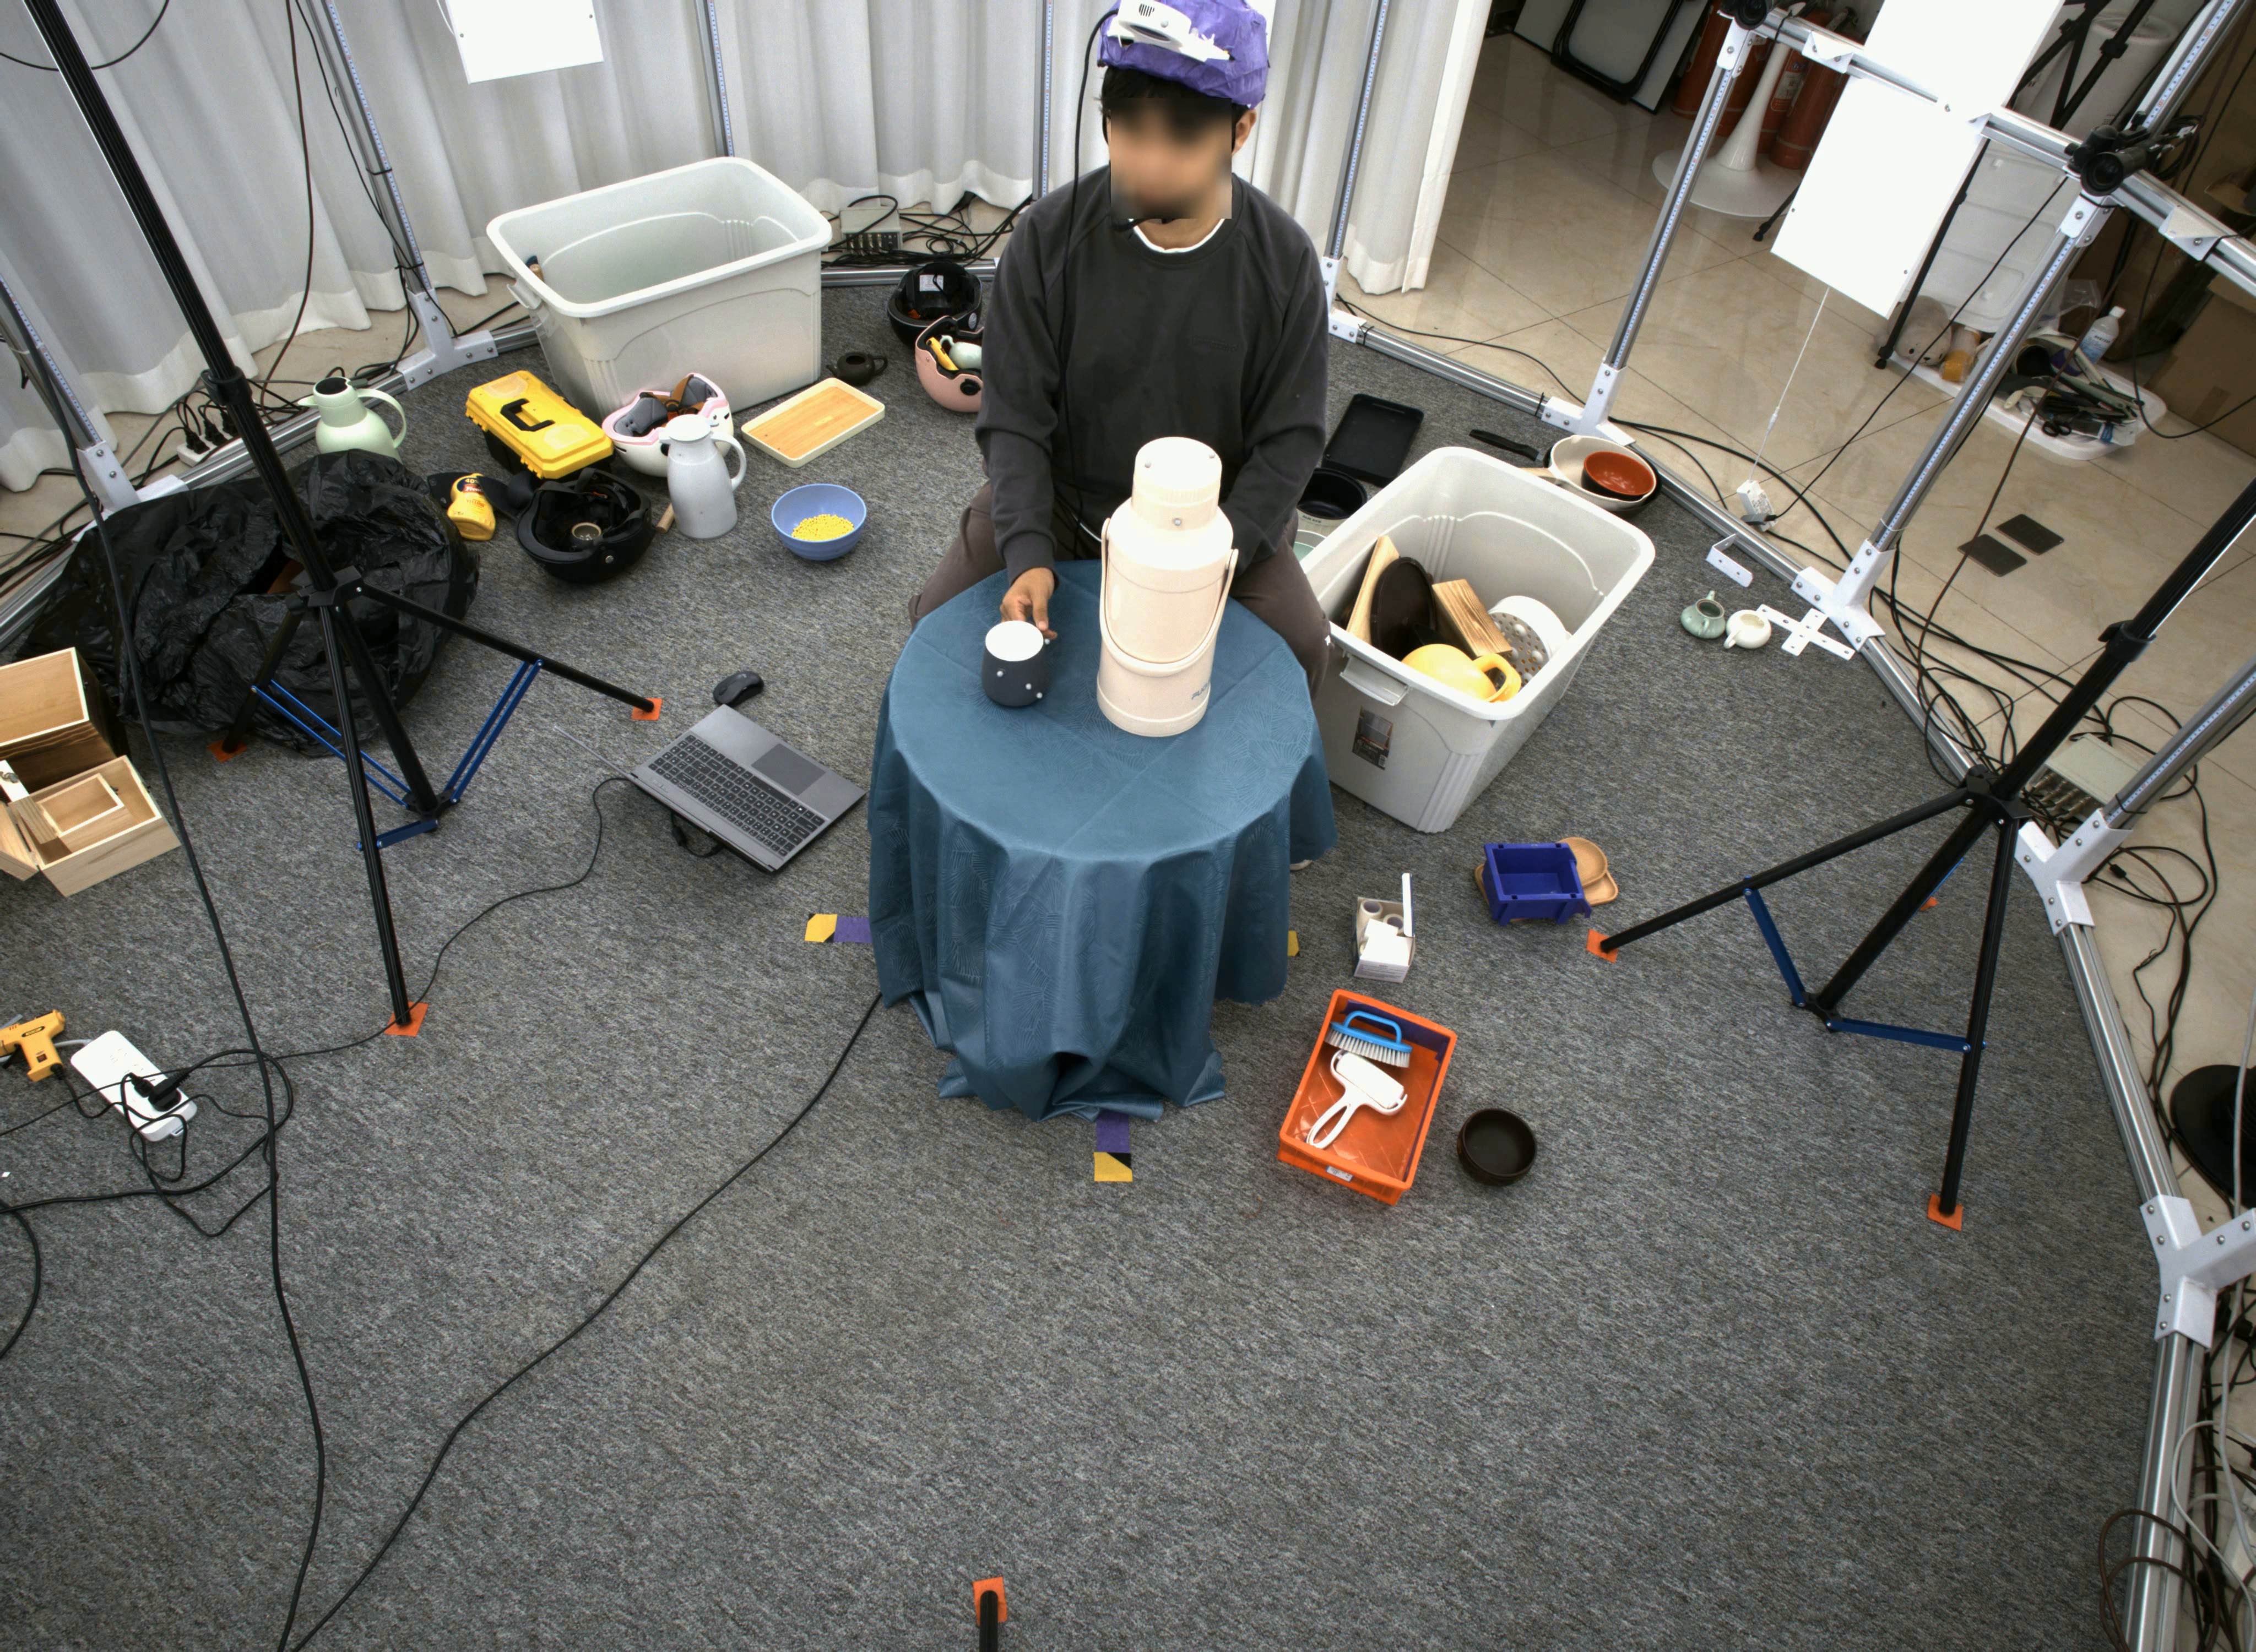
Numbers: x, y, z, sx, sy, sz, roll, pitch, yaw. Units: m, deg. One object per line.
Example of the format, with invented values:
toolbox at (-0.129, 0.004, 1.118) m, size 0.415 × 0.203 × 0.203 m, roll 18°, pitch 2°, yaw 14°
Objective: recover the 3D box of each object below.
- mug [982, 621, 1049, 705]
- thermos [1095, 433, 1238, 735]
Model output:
mug at (-0.151, -0.237, 1.800) m, size 0.094 × 0.088 × 0.125 m, roll 19°, pitch 51°, yaw 11°
thermos at (0.052, -0.321, 1.692) m, size 0.176 × 0.396 × 0.211 m, roll 15°, pitch 50°, yaw 8°
